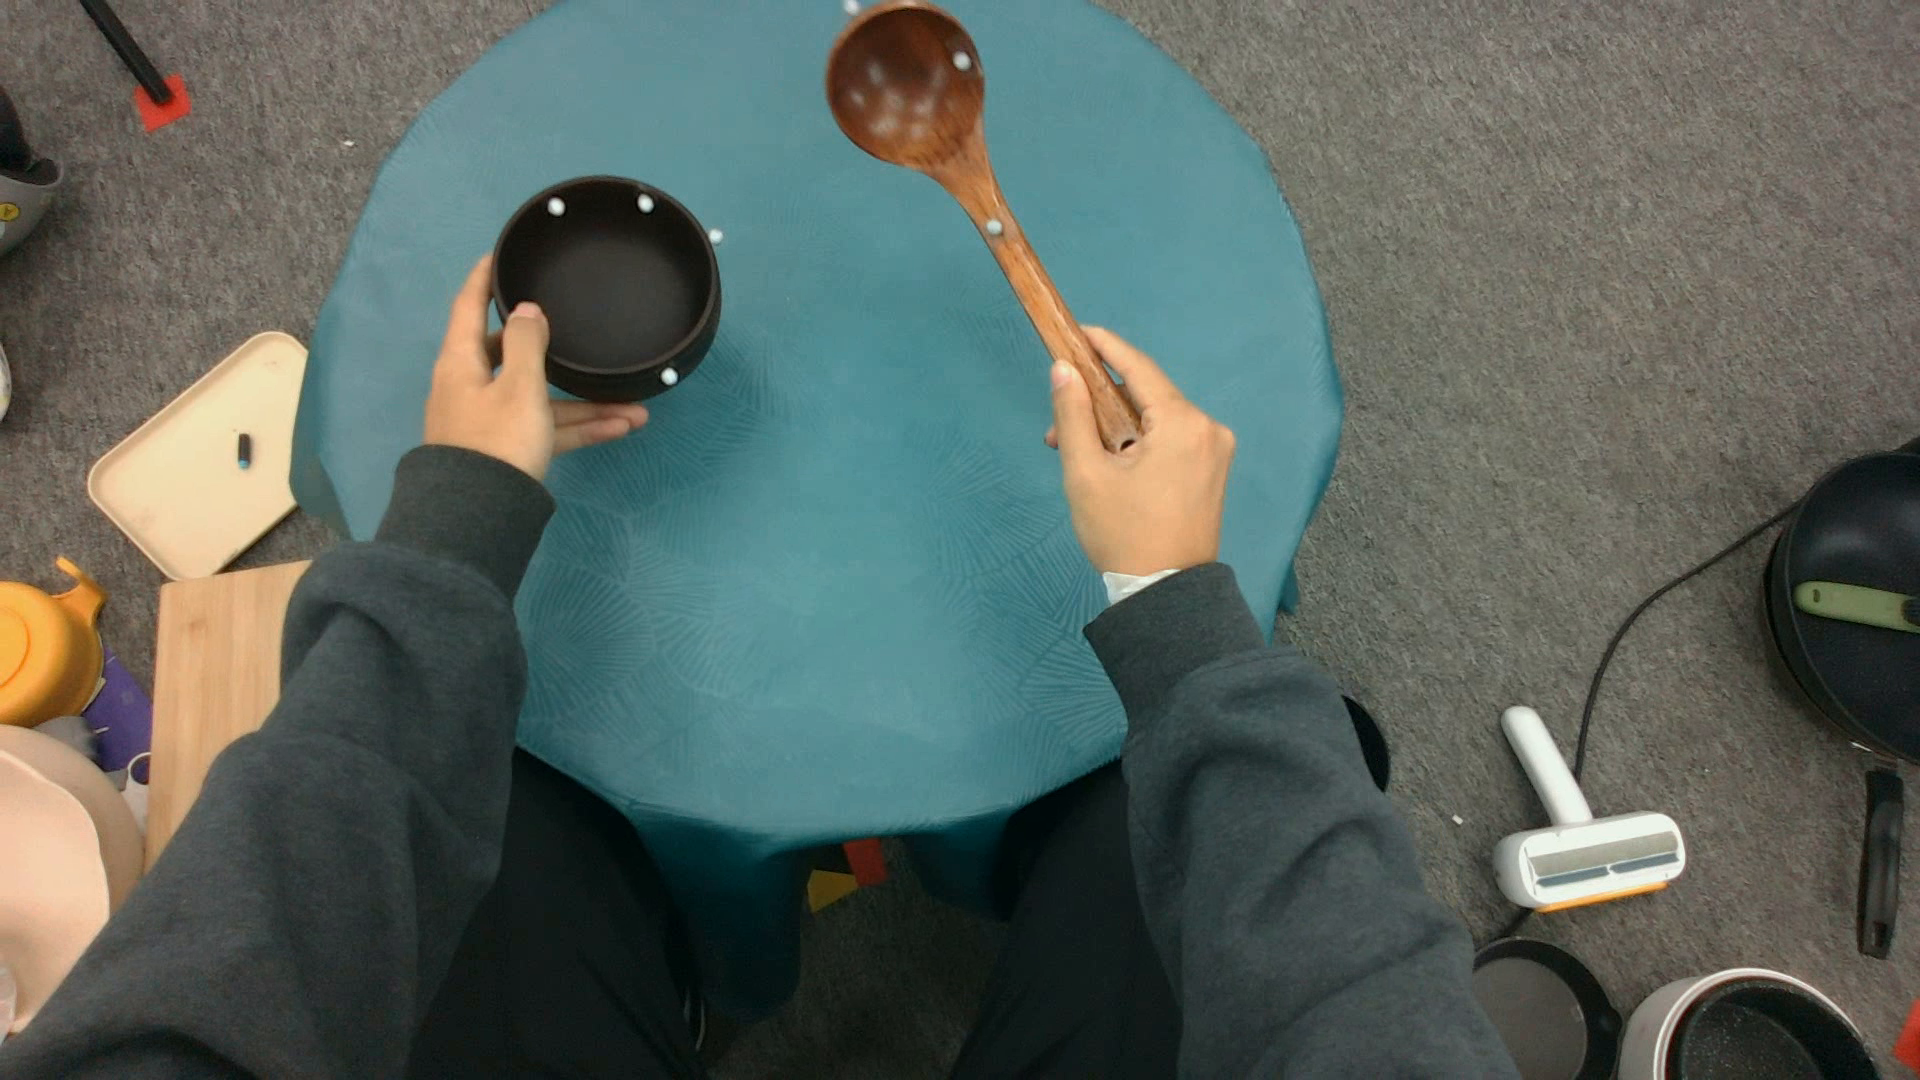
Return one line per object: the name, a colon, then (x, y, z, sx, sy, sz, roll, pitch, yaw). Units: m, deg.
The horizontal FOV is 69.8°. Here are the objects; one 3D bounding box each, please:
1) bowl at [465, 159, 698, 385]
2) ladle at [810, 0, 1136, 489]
bowl: (-0.200, -0.137, 0.740, 0.118, 0.069, 0.118, 3, 72, -9)
ladle: (0.010, -0.151, 0.680, 0.081, 0.077, 0.274, -32, 73, 19)
